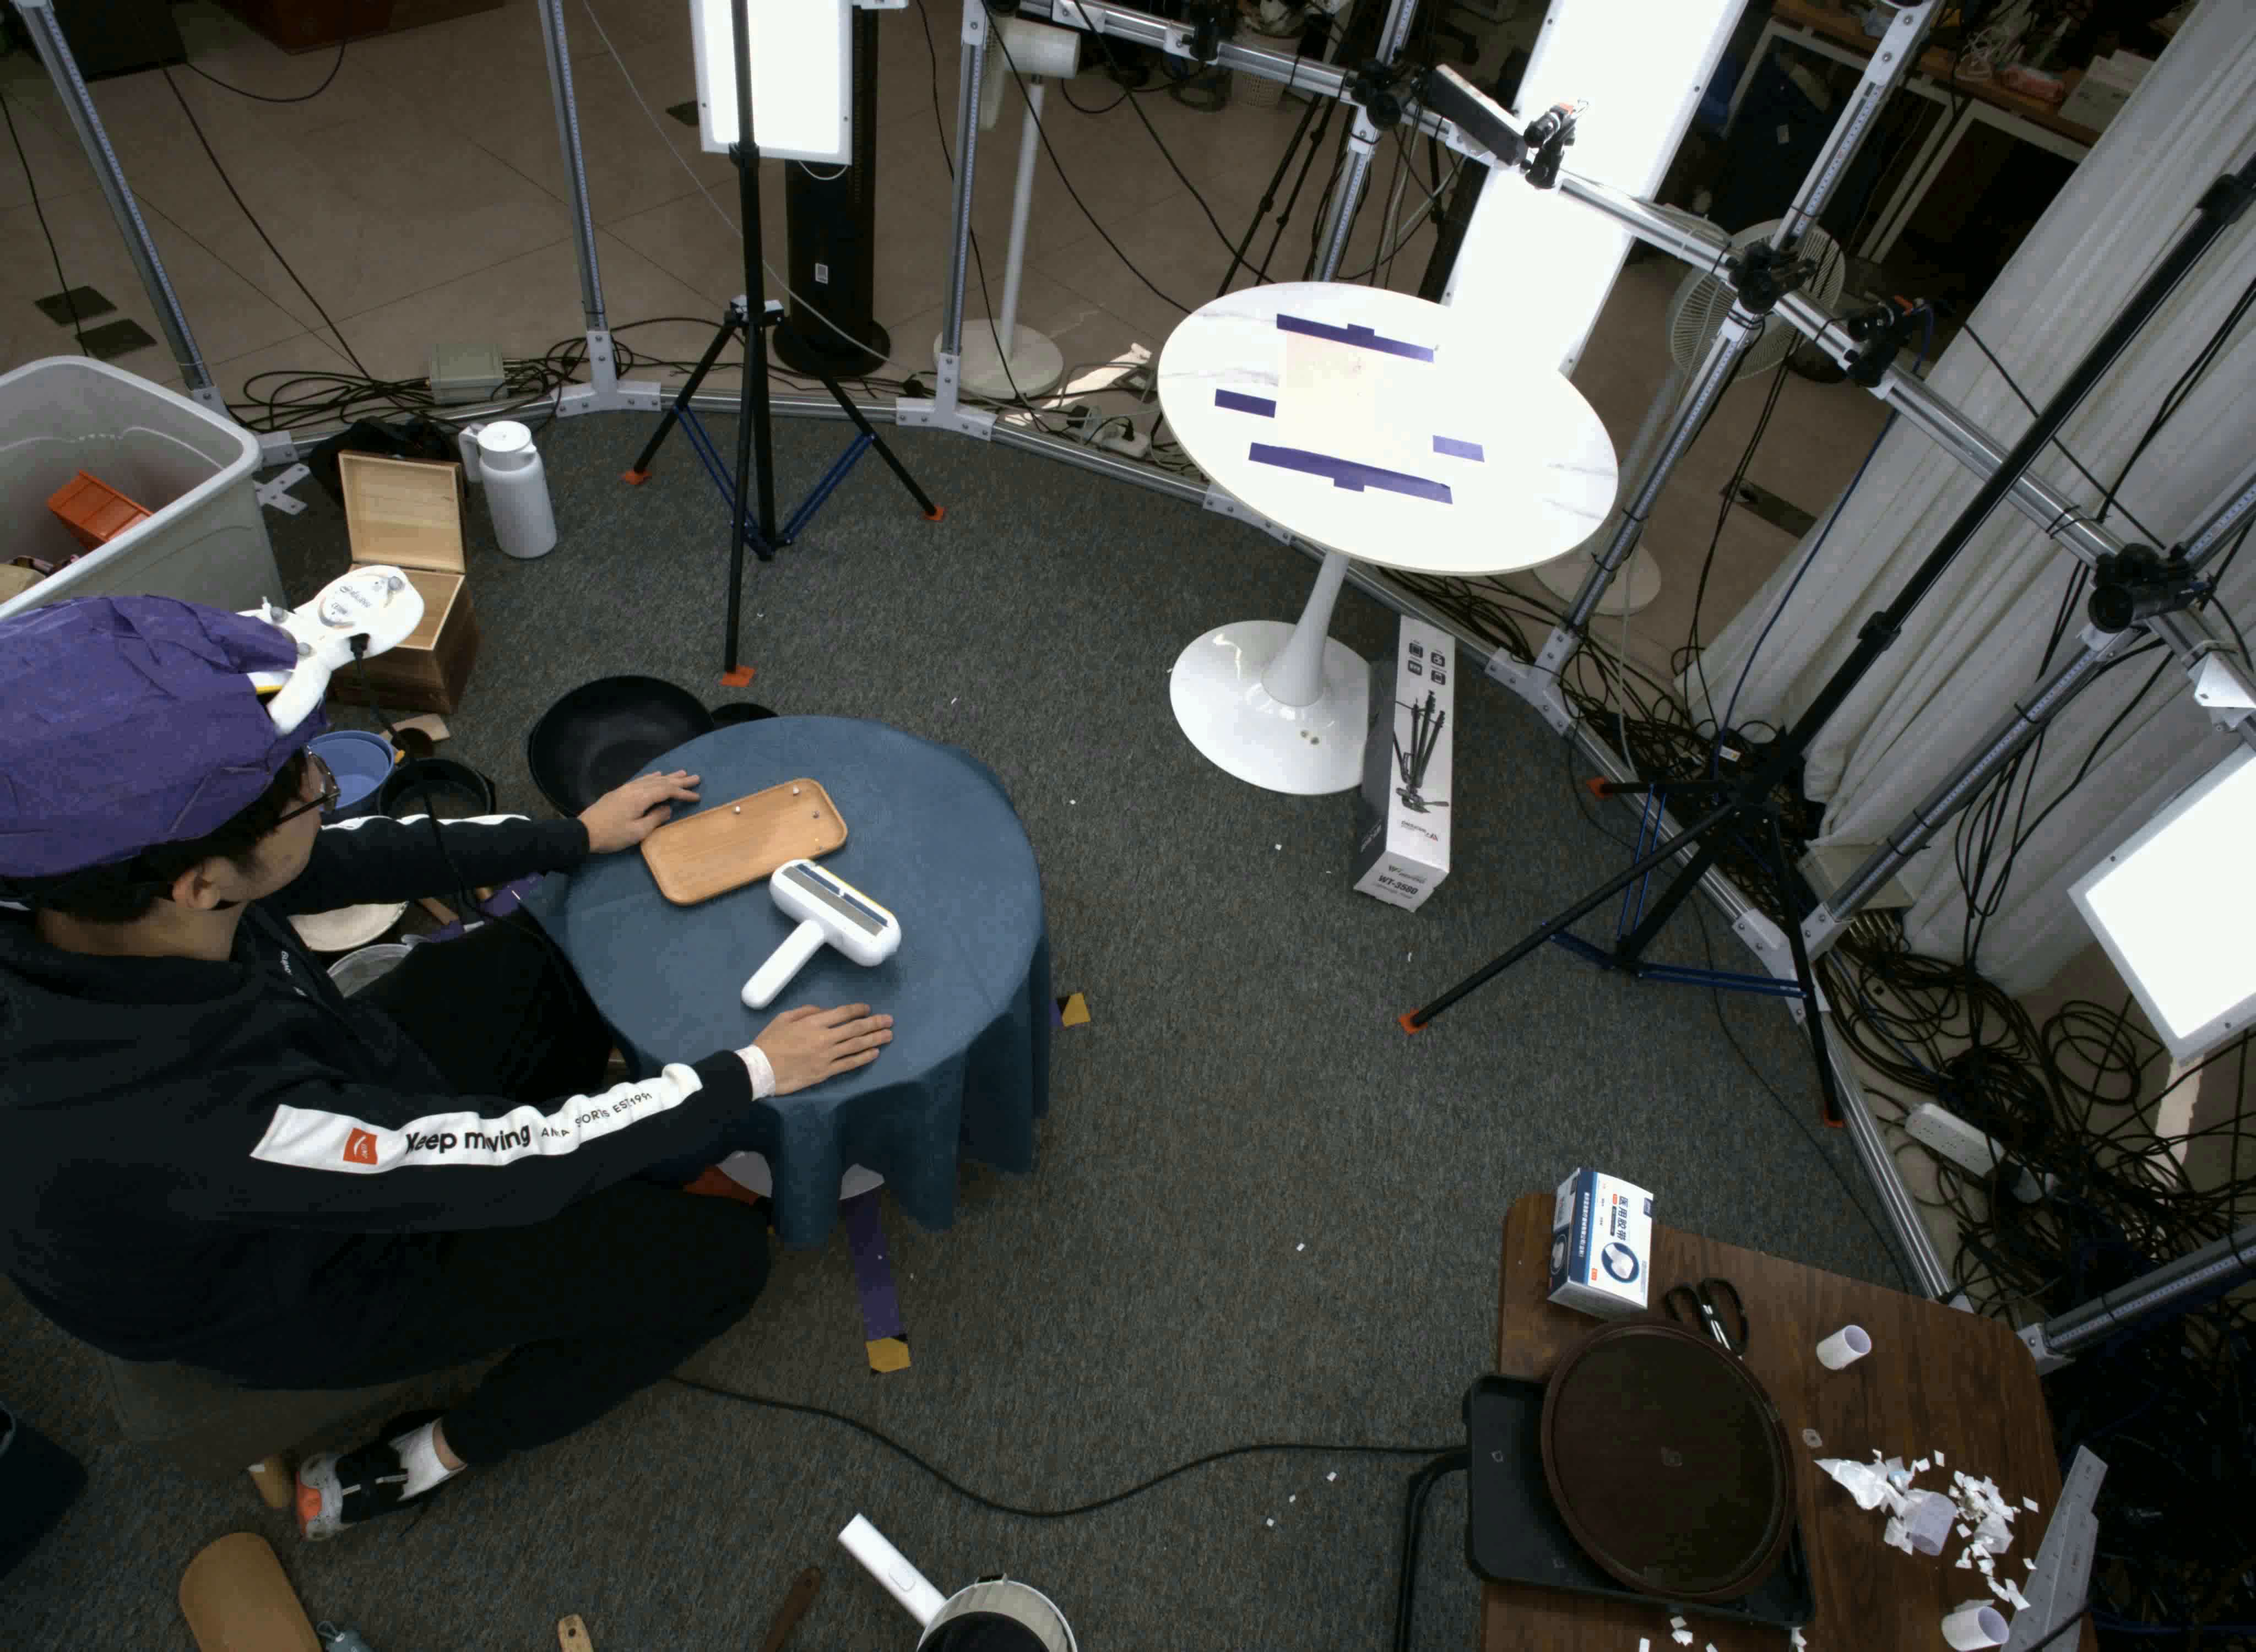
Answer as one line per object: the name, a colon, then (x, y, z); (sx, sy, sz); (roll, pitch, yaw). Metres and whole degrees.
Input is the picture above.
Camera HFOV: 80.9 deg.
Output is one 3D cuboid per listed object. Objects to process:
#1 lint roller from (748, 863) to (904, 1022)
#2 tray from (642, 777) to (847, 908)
lint roller: (-0.397, 0.155, 1.603); (0.187, 0.076, 0.192); (36, 68, 22)
tray: (-0.499, 0.018, 1.686); (0.252, 0.023, 0.127); (-22, 61, -27)
